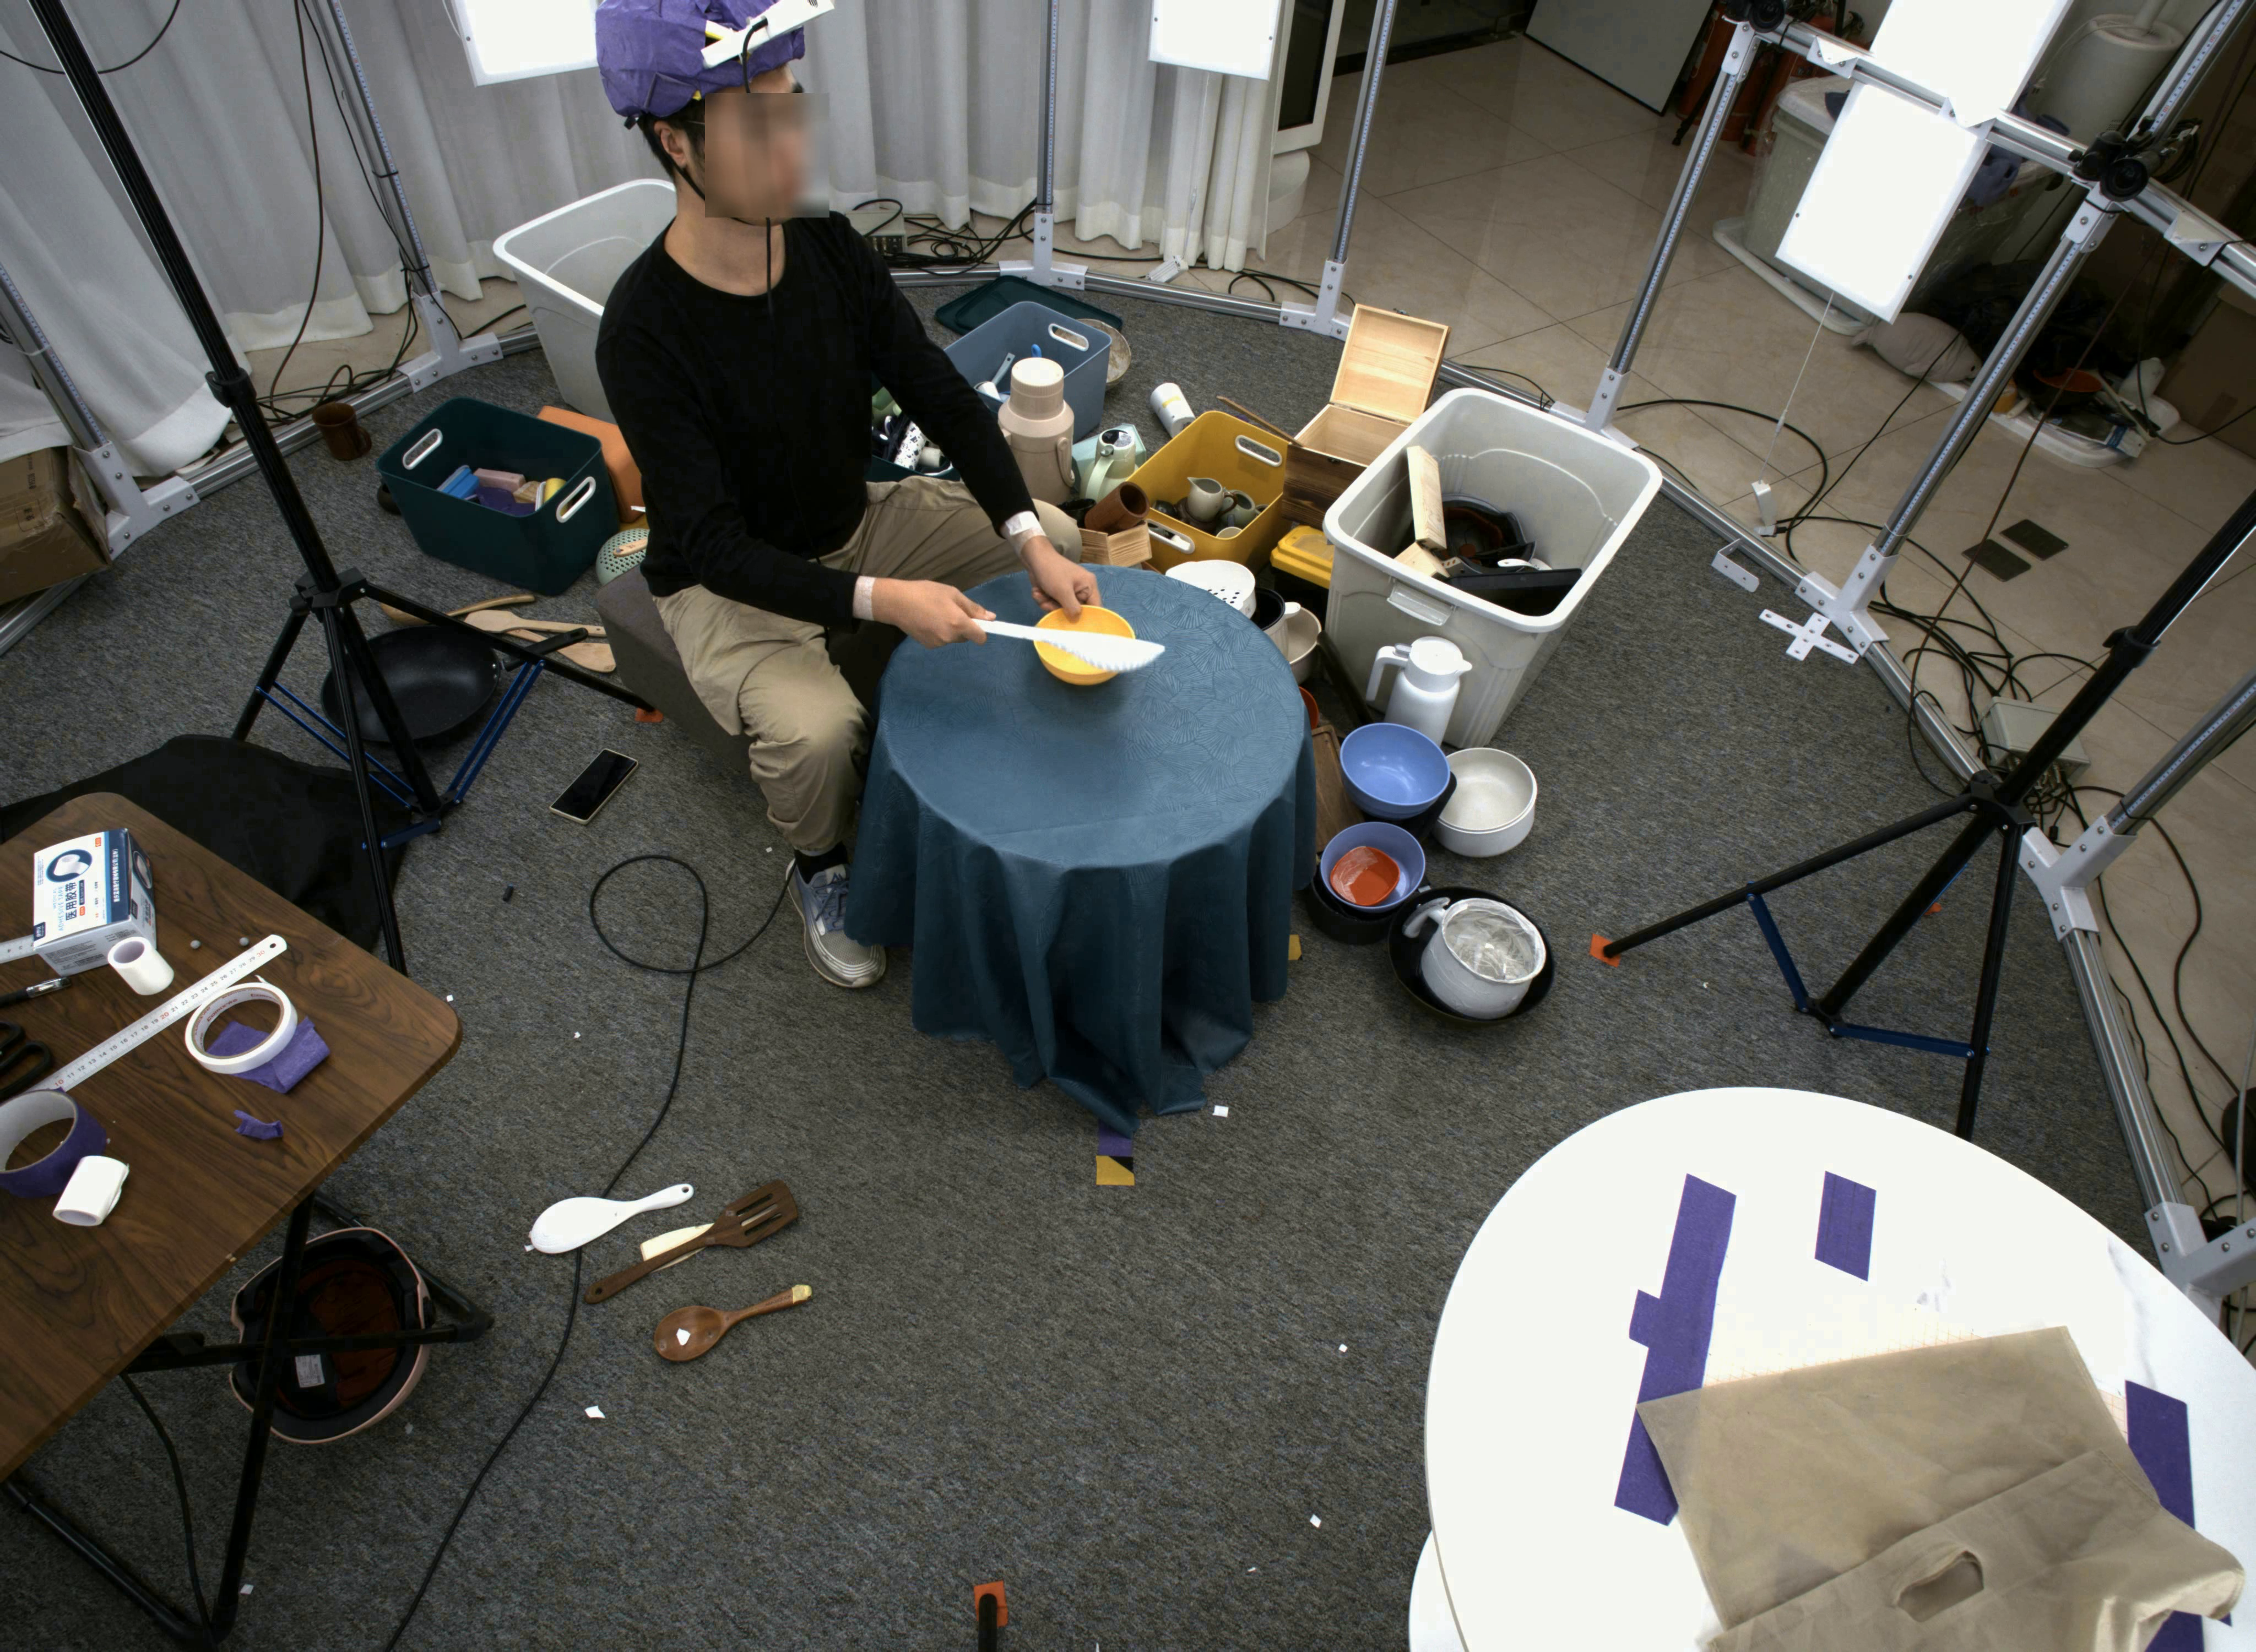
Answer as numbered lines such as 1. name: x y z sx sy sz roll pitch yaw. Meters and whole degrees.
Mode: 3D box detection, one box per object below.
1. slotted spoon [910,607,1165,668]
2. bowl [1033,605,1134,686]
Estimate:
1. slotted spoon: -0.124 -0.261 1.721 0.351 0.045 0.136 15 11 10
2. bowl: -0.065 -0.247 1.844 0.145 0.059 0.149 3 50 -4
